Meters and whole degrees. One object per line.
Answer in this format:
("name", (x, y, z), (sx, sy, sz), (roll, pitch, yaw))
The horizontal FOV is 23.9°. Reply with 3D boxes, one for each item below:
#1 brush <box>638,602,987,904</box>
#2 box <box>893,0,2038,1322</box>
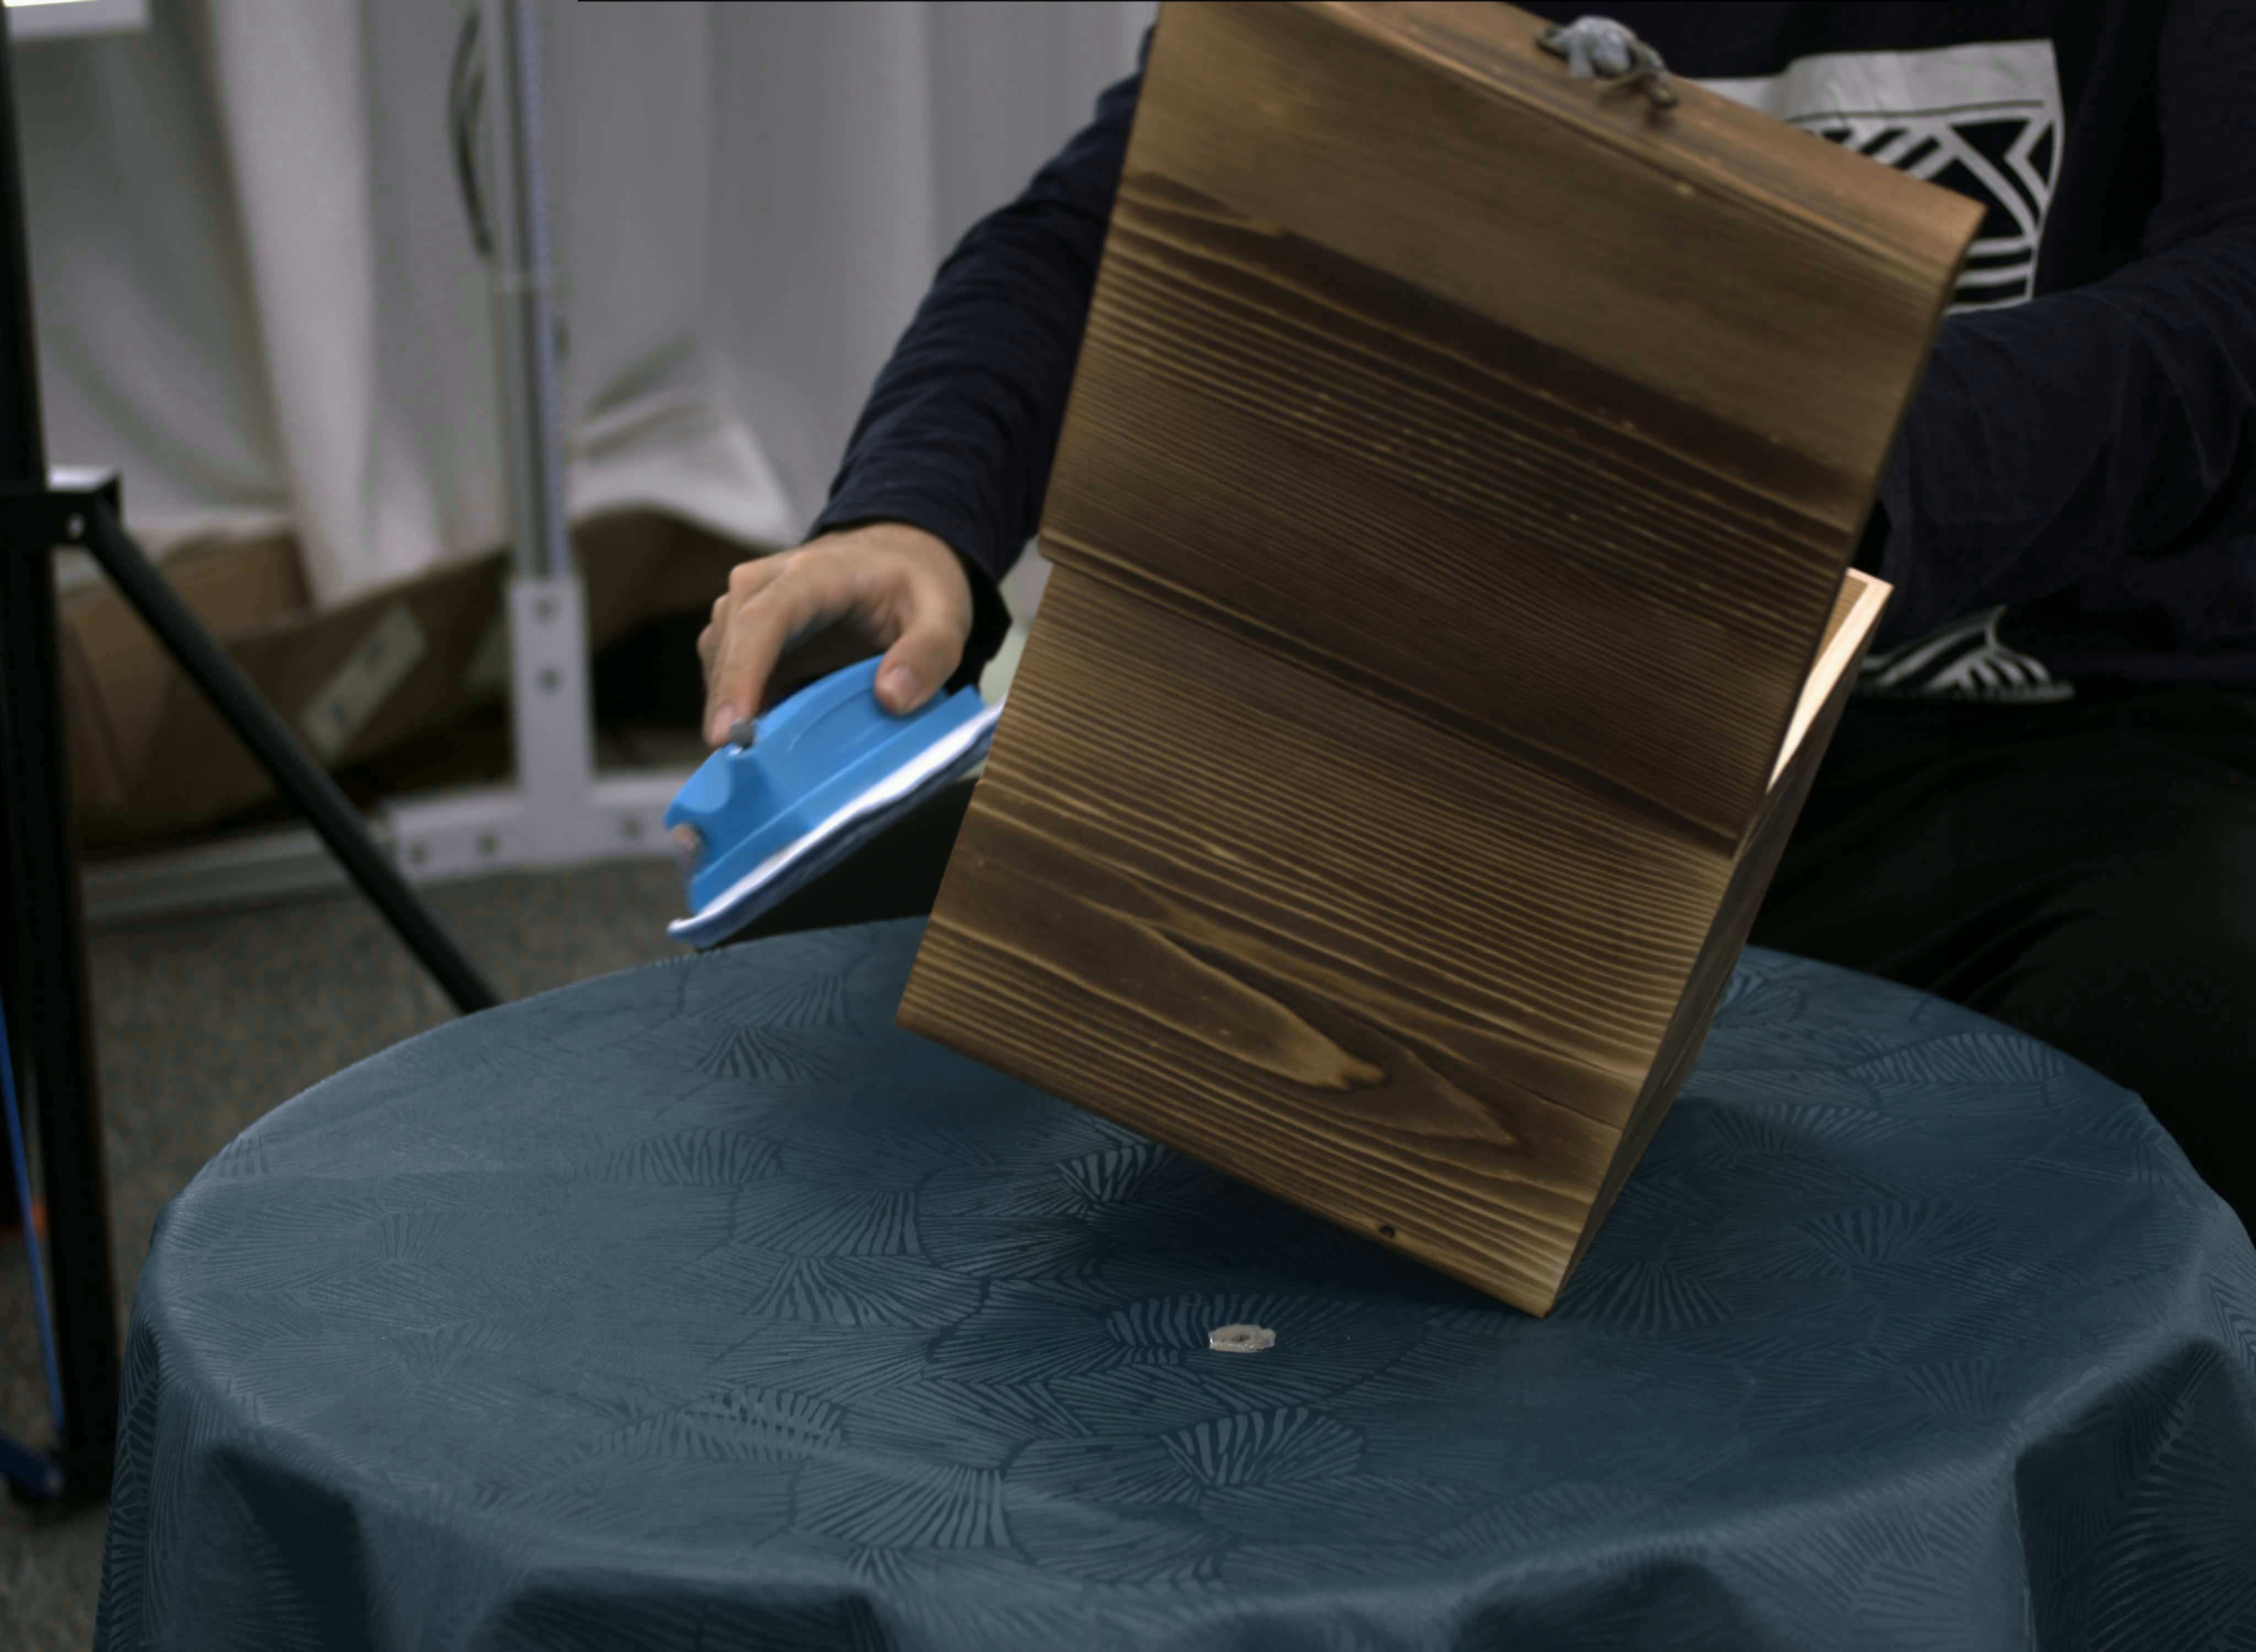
("brush", (-0.105, -0.027, 1.682), (0.085, 0.056, 0.142), (-32, 7, 31))
("box", (0.099, -0.075, 1.438), (0.210, 0.377, 0.319), (25, 24, 9))
